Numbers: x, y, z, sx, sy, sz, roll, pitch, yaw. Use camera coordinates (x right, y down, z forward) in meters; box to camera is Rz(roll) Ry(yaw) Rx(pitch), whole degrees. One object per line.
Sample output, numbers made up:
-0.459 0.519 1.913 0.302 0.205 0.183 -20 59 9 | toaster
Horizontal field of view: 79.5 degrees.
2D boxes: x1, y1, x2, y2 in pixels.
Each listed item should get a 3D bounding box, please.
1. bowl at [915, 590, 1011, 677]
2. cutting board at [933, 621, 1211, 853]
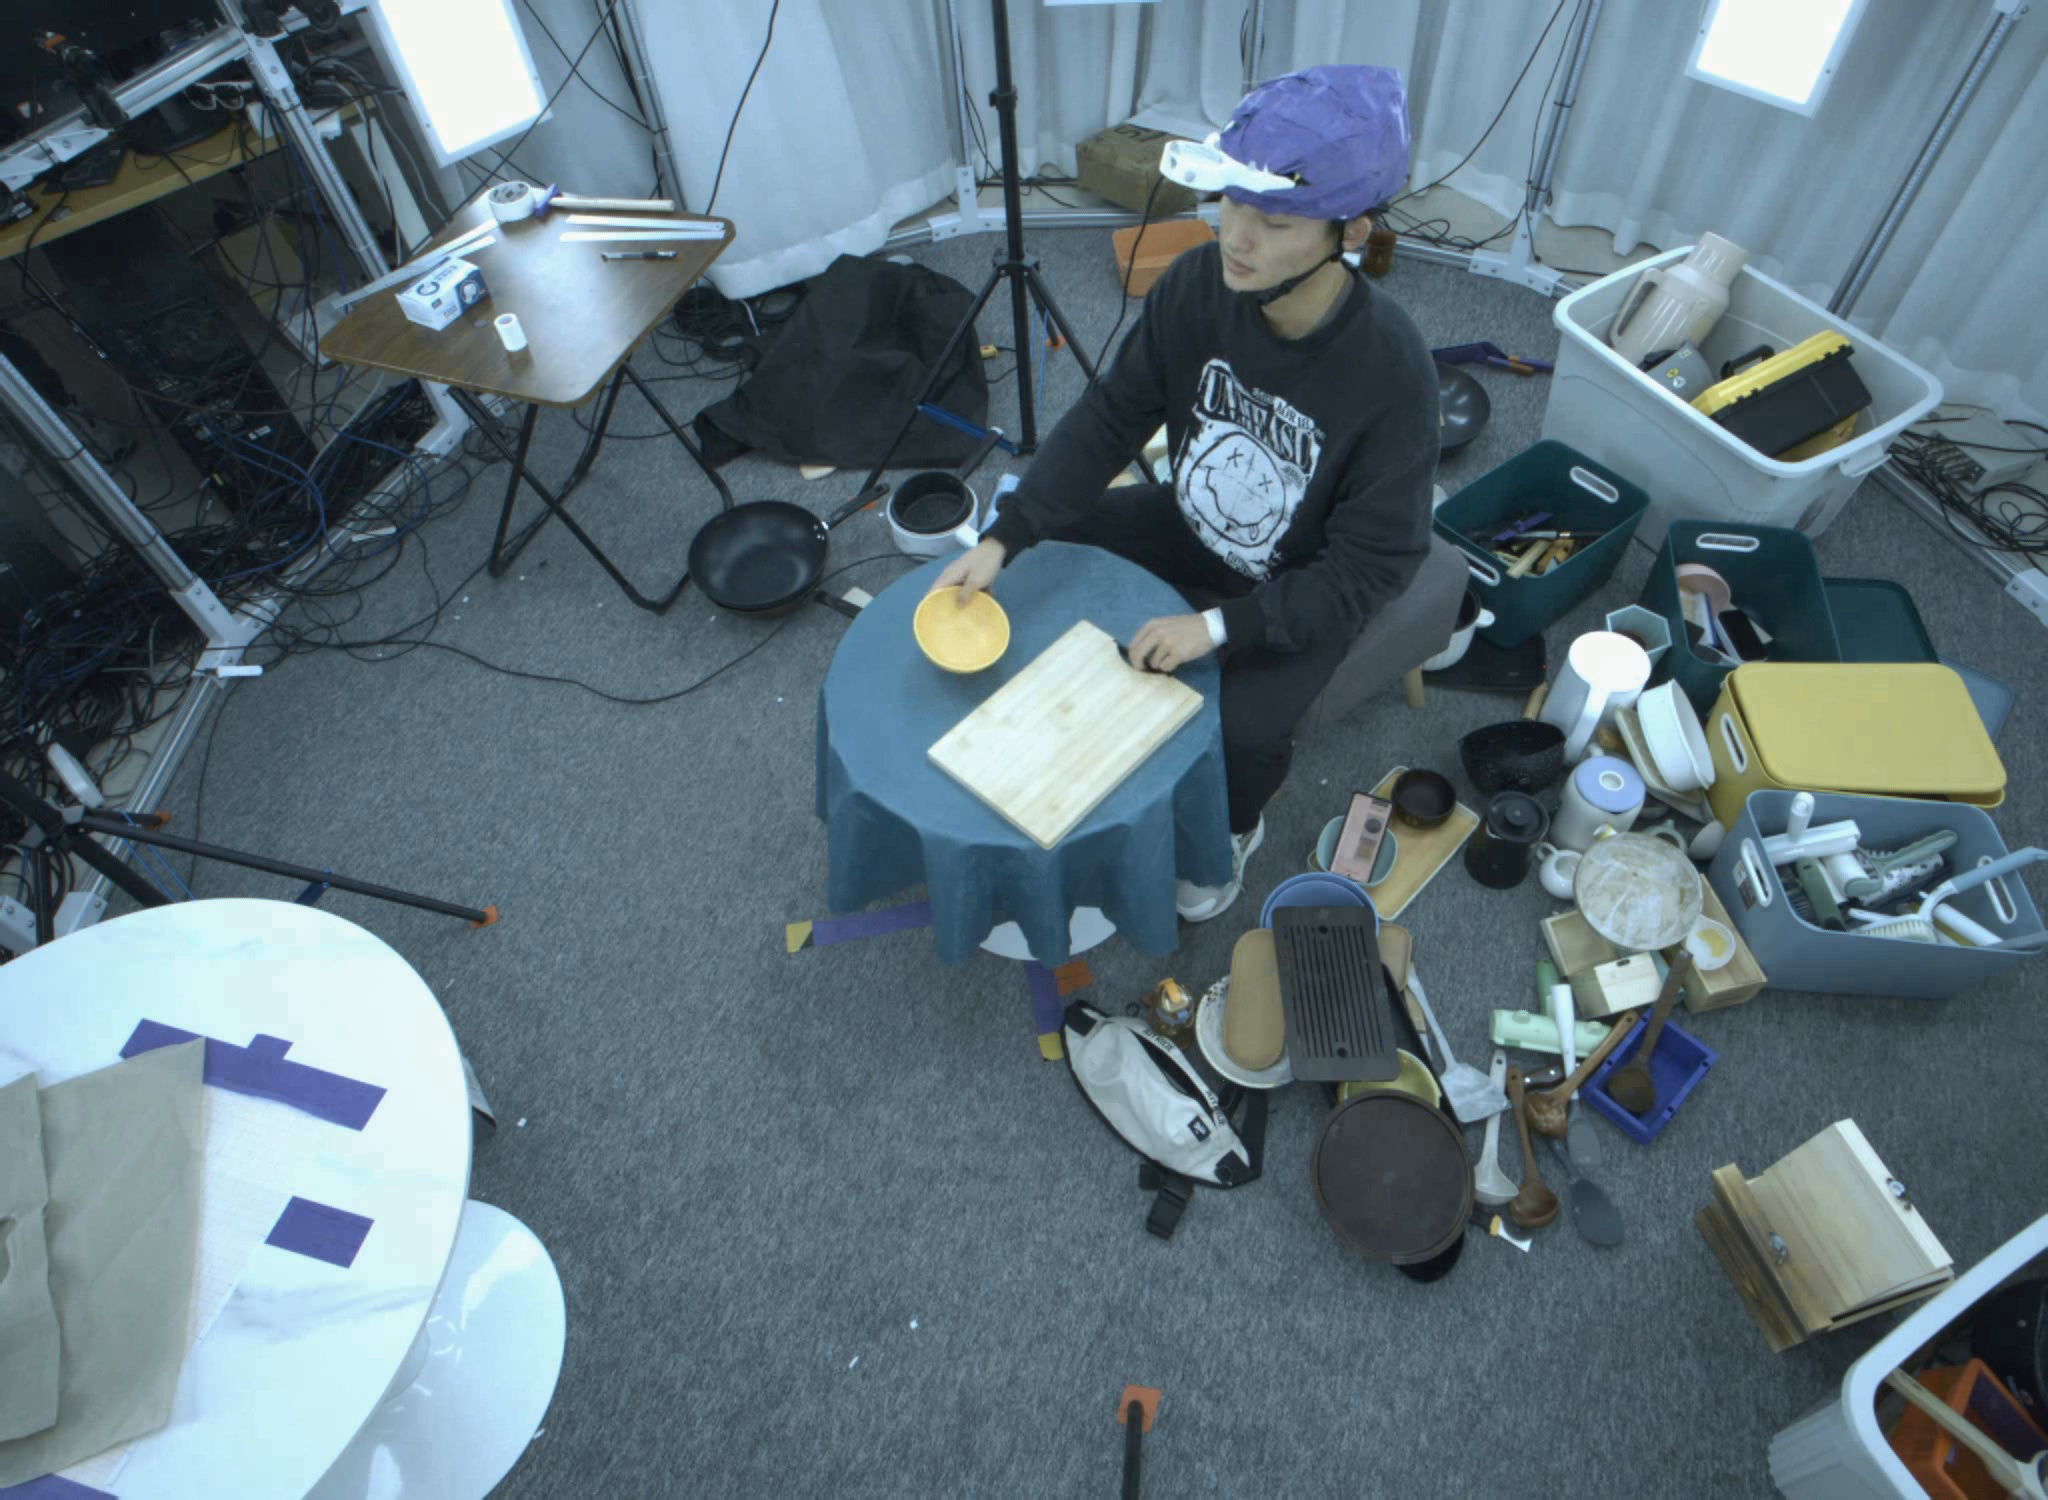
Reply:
-0.096 -0.165 1.858 0.147 0.060 0.144 6 66 -12 | bowl
0.070 -0.030 1.807 0.246 0.024 0.351 36 63 23 | cutting board
